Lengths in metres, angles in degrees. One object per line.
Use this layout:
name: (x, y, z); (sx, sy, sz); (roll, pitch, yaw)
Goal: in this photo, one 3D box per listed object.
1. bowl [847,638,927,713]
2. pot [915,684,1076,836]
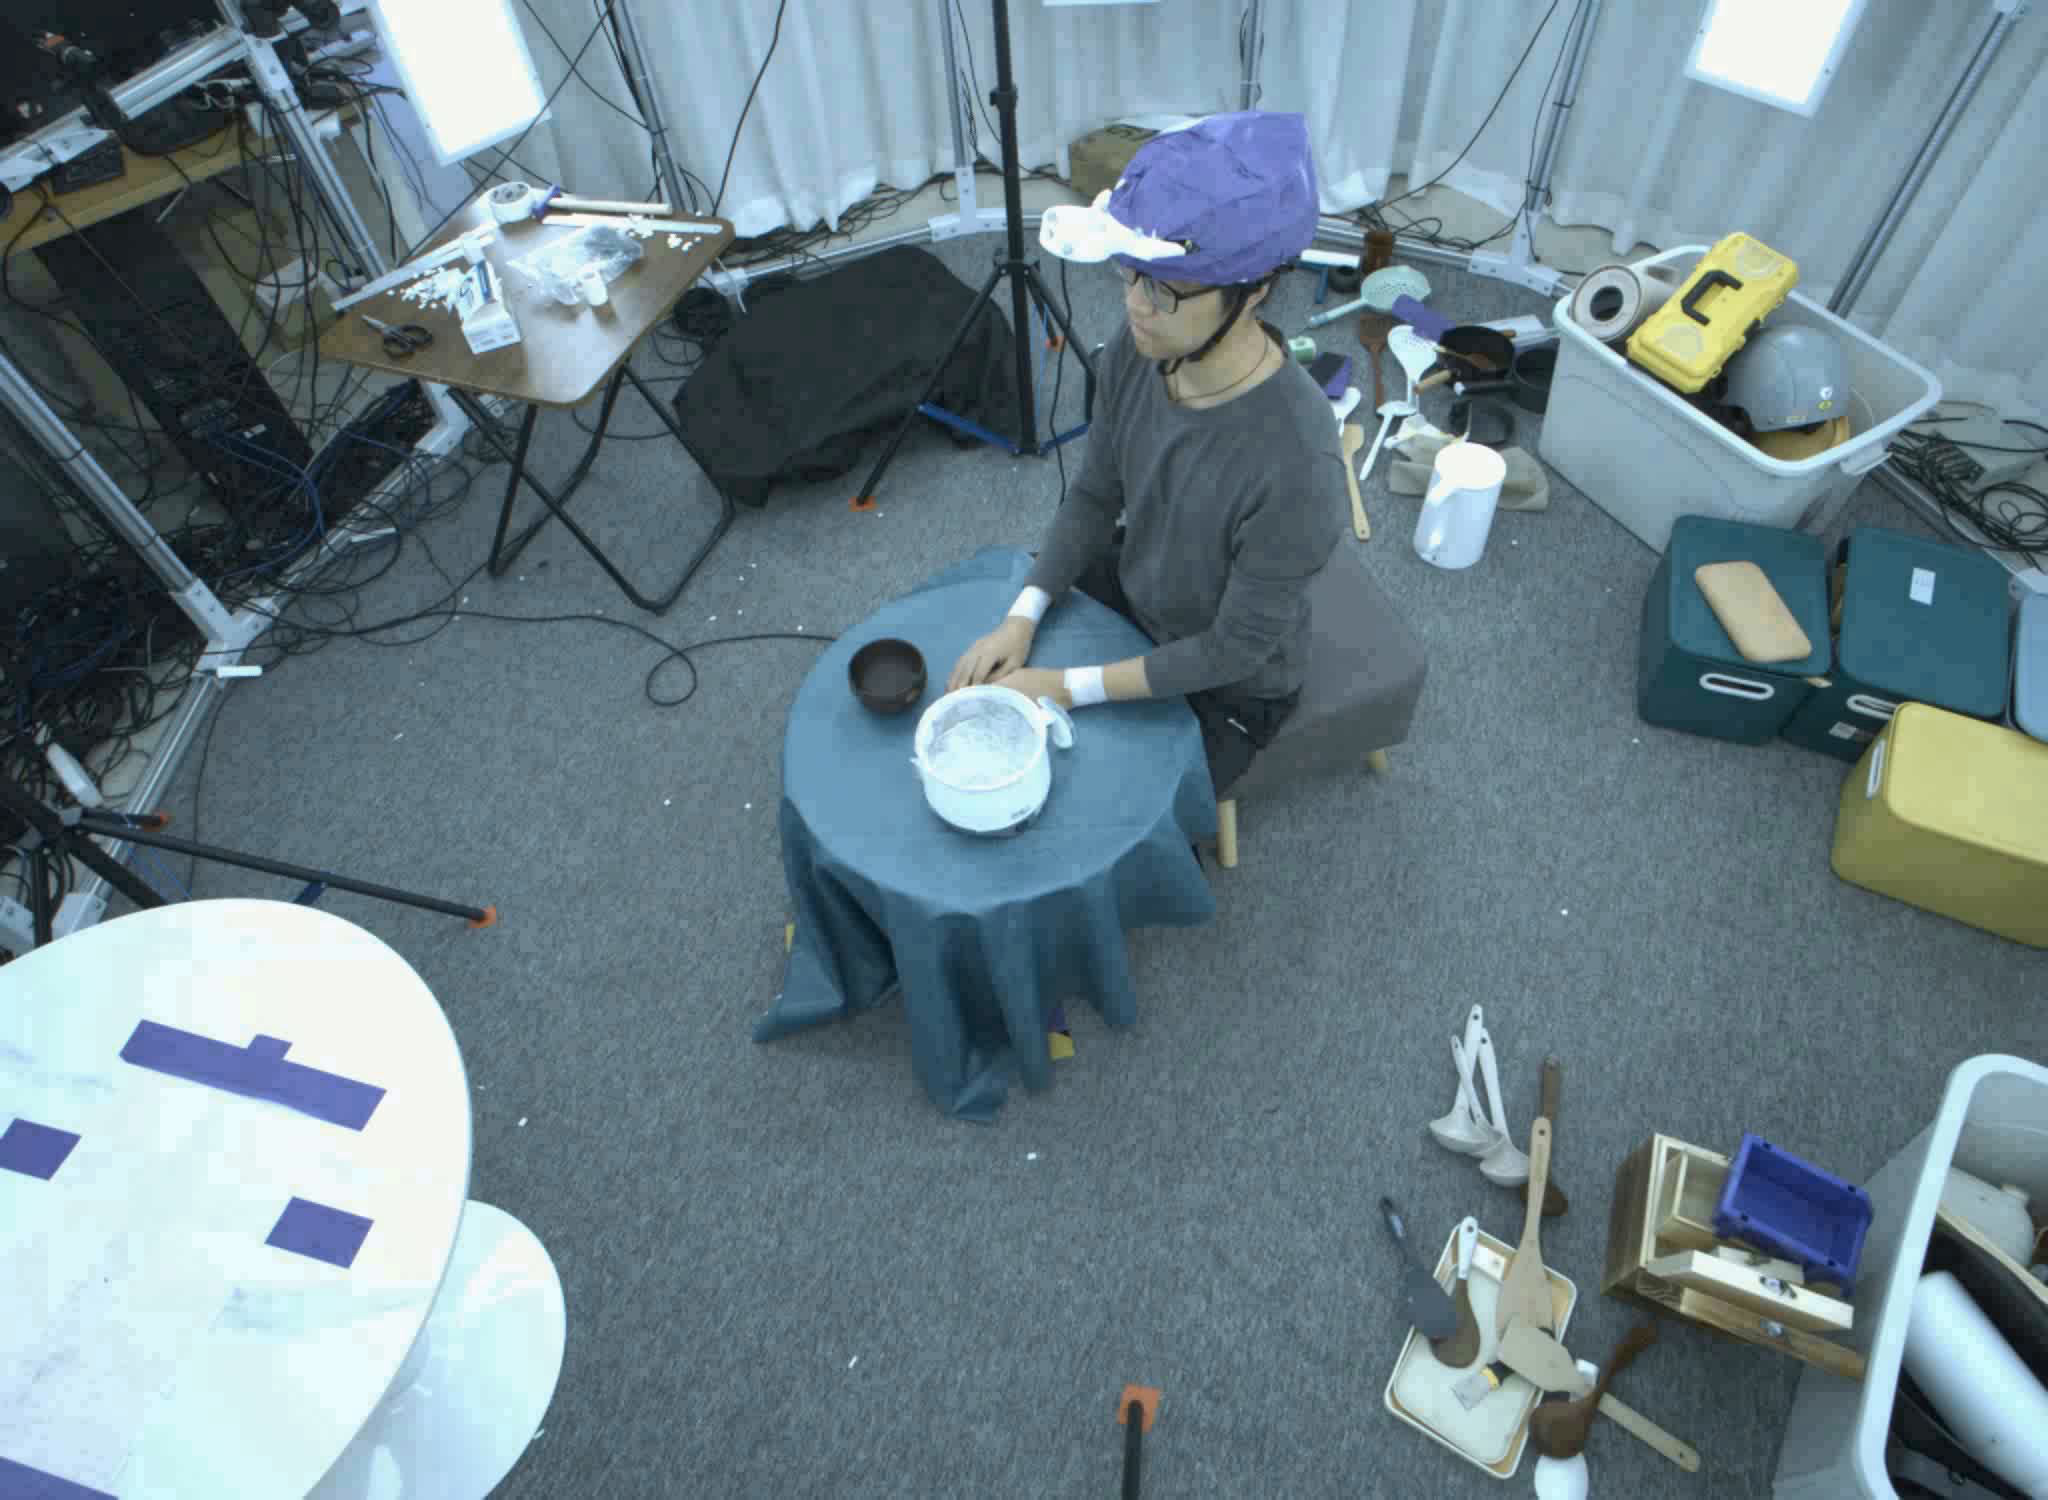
bowl: (-0.203, -0.103, 1.830); (0.118, 0.070, 0.117); (0, 53, 1)
pot: (-0.032, 0.004, 1.708); (0.235, 0.138, 0.175); (-31, 59, -19)
